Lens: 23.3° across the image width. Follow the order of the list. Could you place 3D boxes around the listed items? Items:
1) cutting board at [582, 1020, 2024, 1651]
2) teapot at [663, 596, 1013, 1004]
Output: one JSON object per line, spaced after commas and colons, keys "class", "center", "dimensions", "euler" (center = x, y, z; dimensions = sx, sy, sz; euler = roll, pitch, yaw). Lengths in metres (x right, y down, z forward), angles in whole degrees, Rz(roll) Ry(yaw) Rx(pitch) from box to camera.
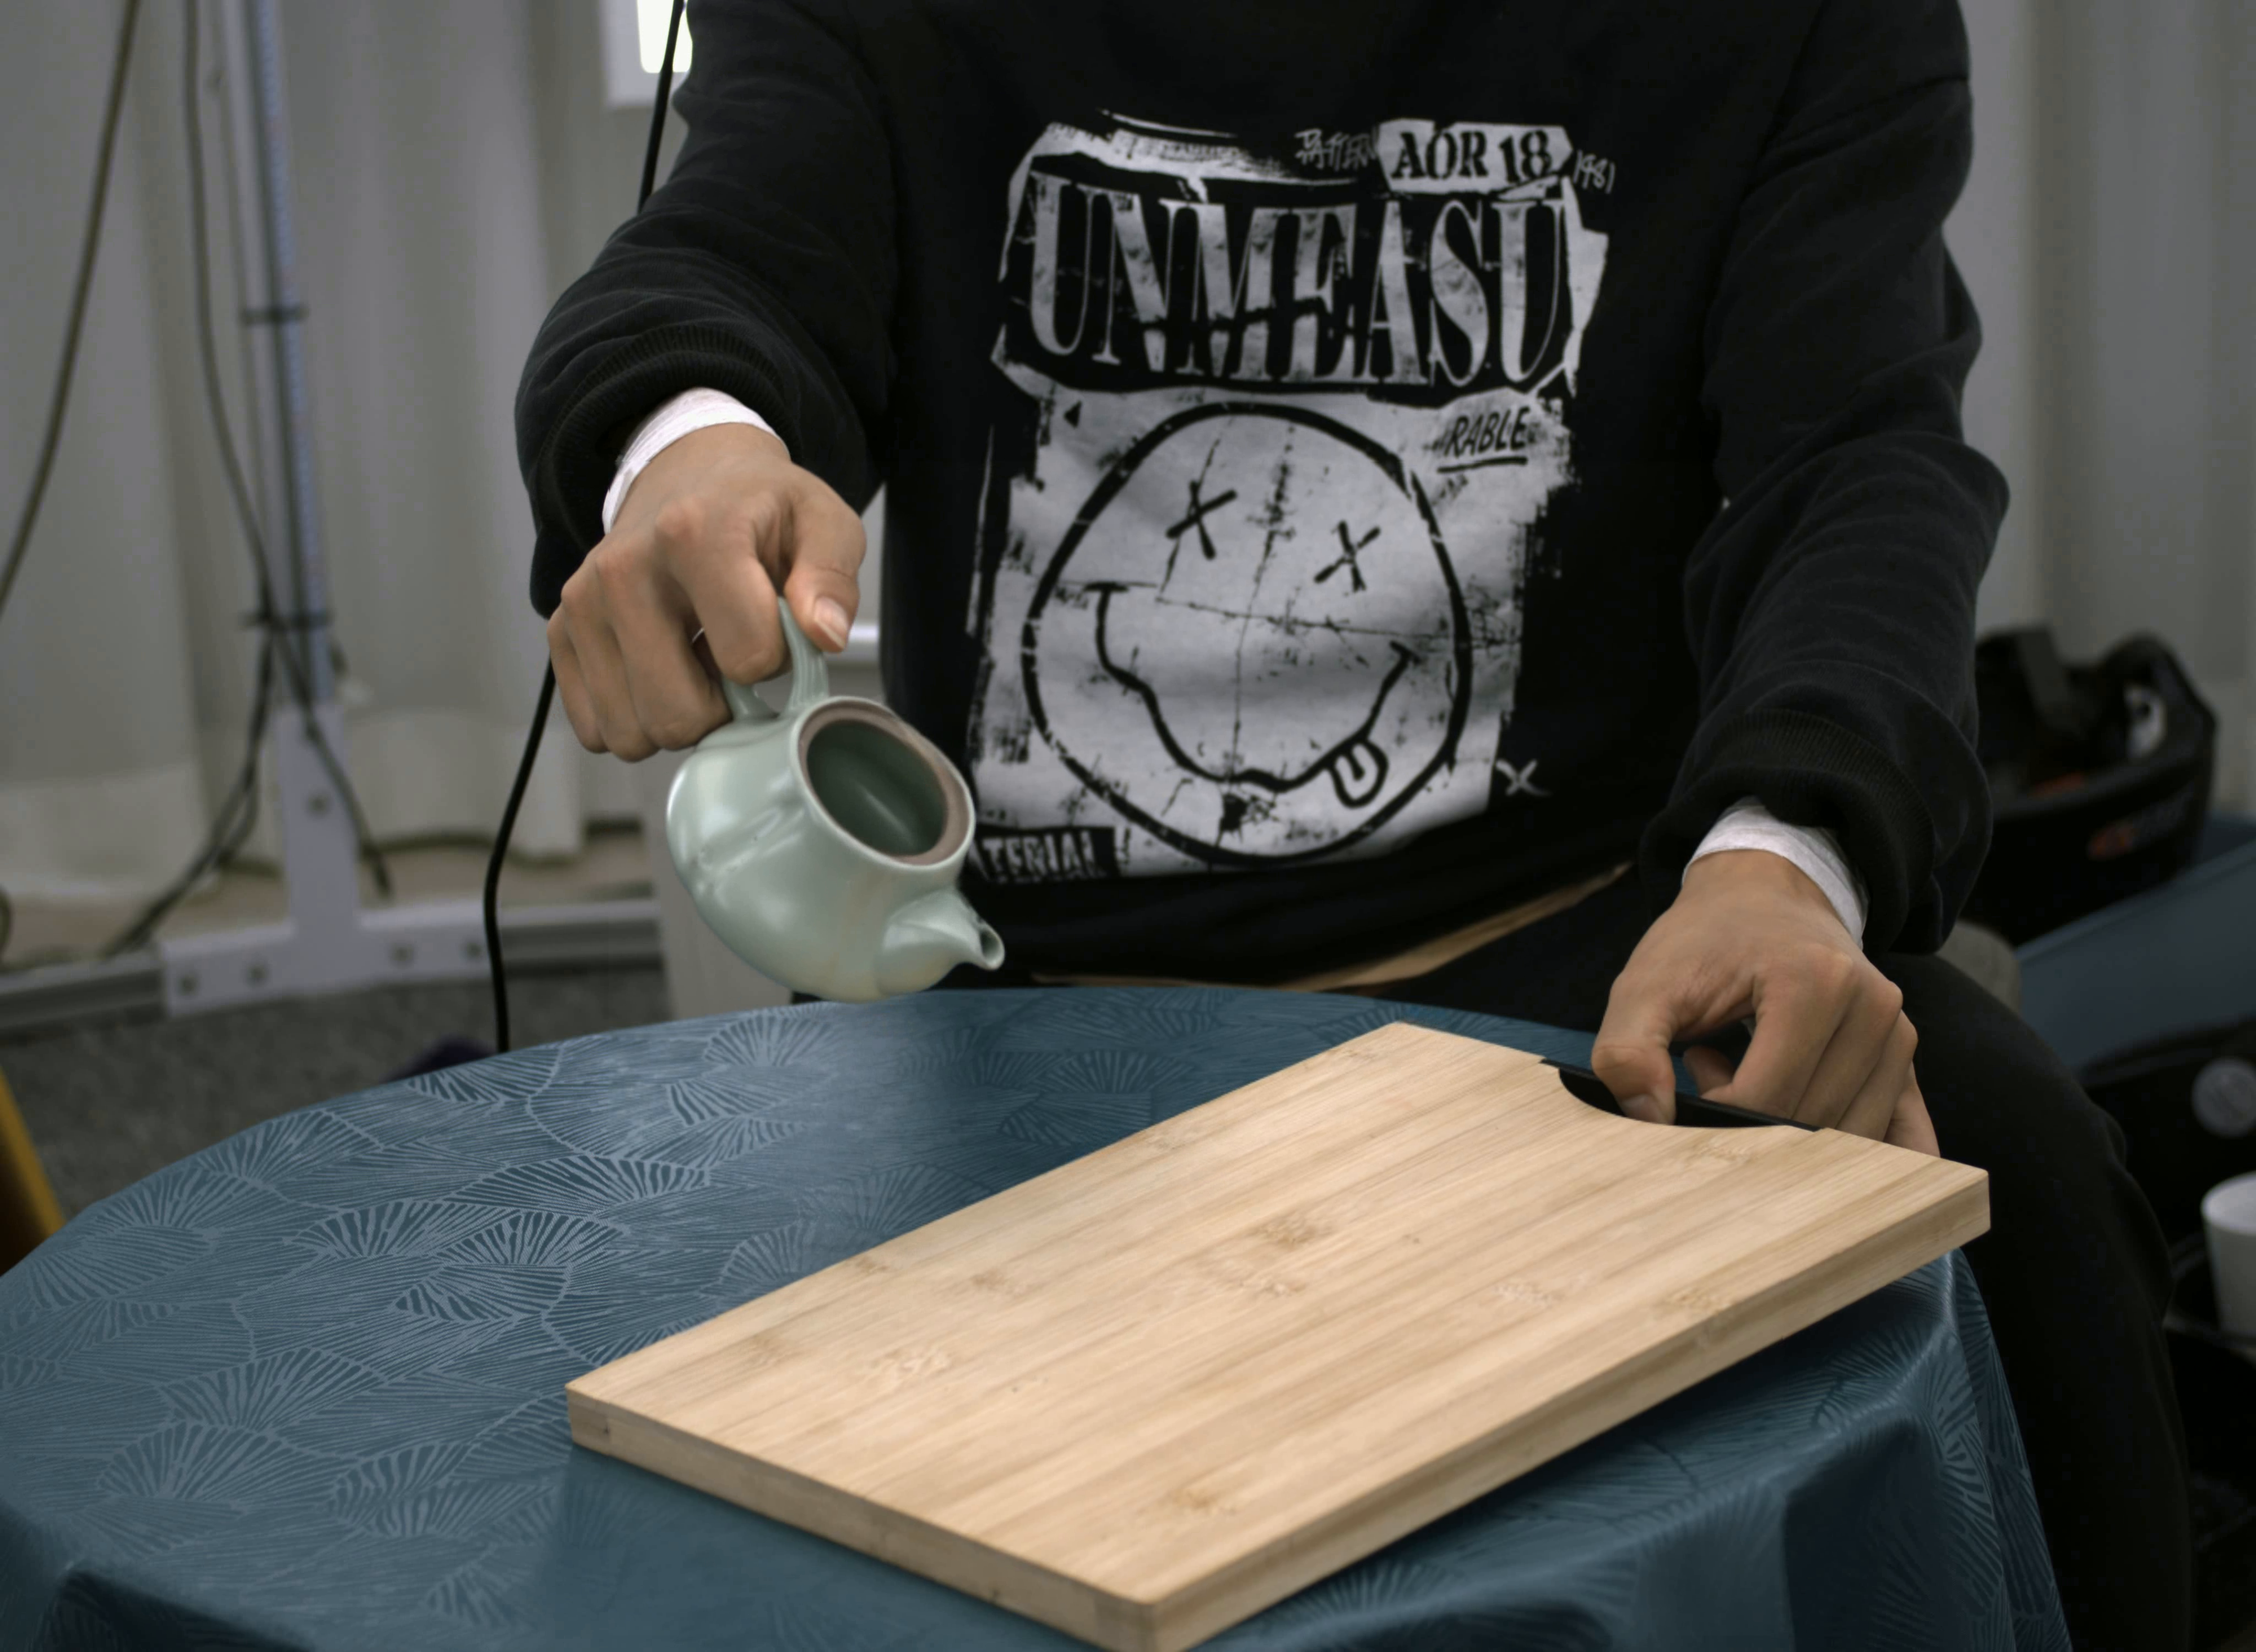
{"class": "cutting board", "center": [0.050, 0.136, 1.551], "dimensions": [0.348, 0.023, 0.252], "euler": [-21, 23, -40]}
{"class": "teapot", "center": [-0.087, -0.002, 1.585], "dimensions": [0.096, 0.138, 0.061], "euler": [-15, -24, -47]}
